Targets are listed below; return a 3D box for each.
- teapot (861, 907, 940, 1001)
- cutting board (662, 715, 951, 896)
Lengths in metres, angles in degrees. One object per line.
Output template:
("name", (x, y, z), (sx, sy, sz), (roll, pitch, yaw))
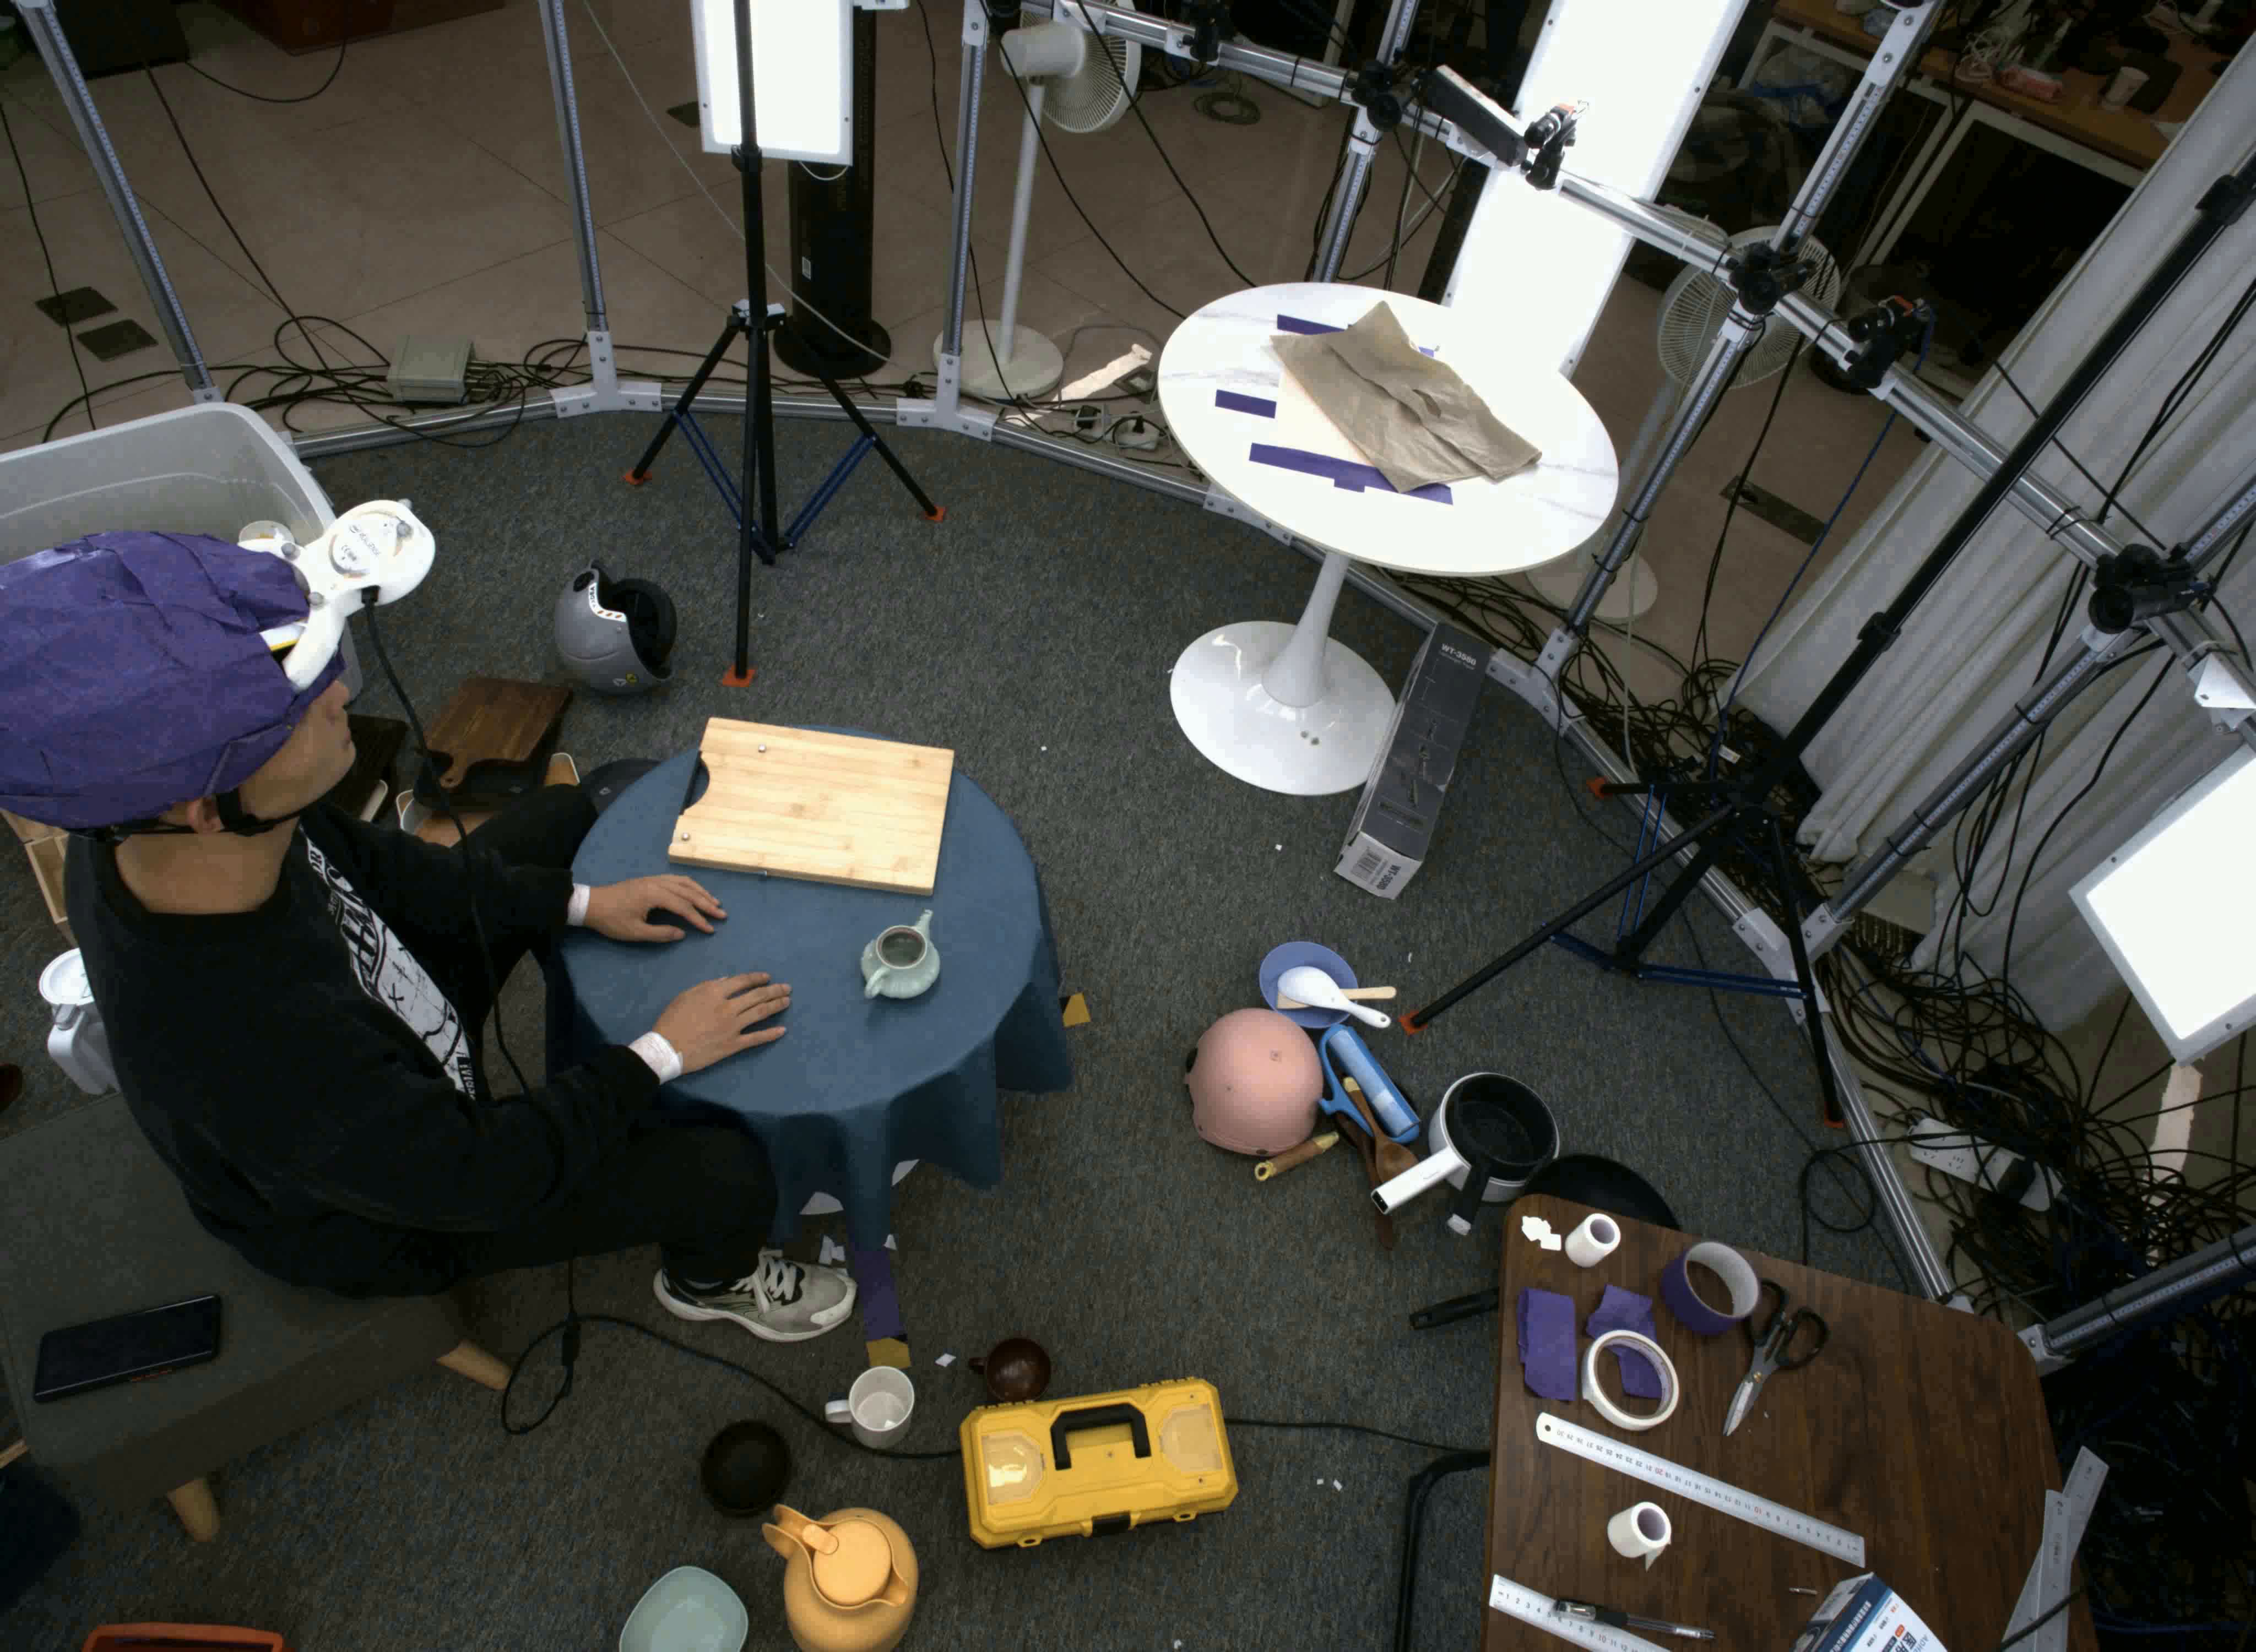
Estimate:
("teapot", (-0.281, 0.163, 1.598), (0.095, 0.062, 0.136), (27, 52, 6))
("cutting board", (-0.422, -0.032, 1.735), (0.348, 0.024, 0.246), (7, 52, -10))
